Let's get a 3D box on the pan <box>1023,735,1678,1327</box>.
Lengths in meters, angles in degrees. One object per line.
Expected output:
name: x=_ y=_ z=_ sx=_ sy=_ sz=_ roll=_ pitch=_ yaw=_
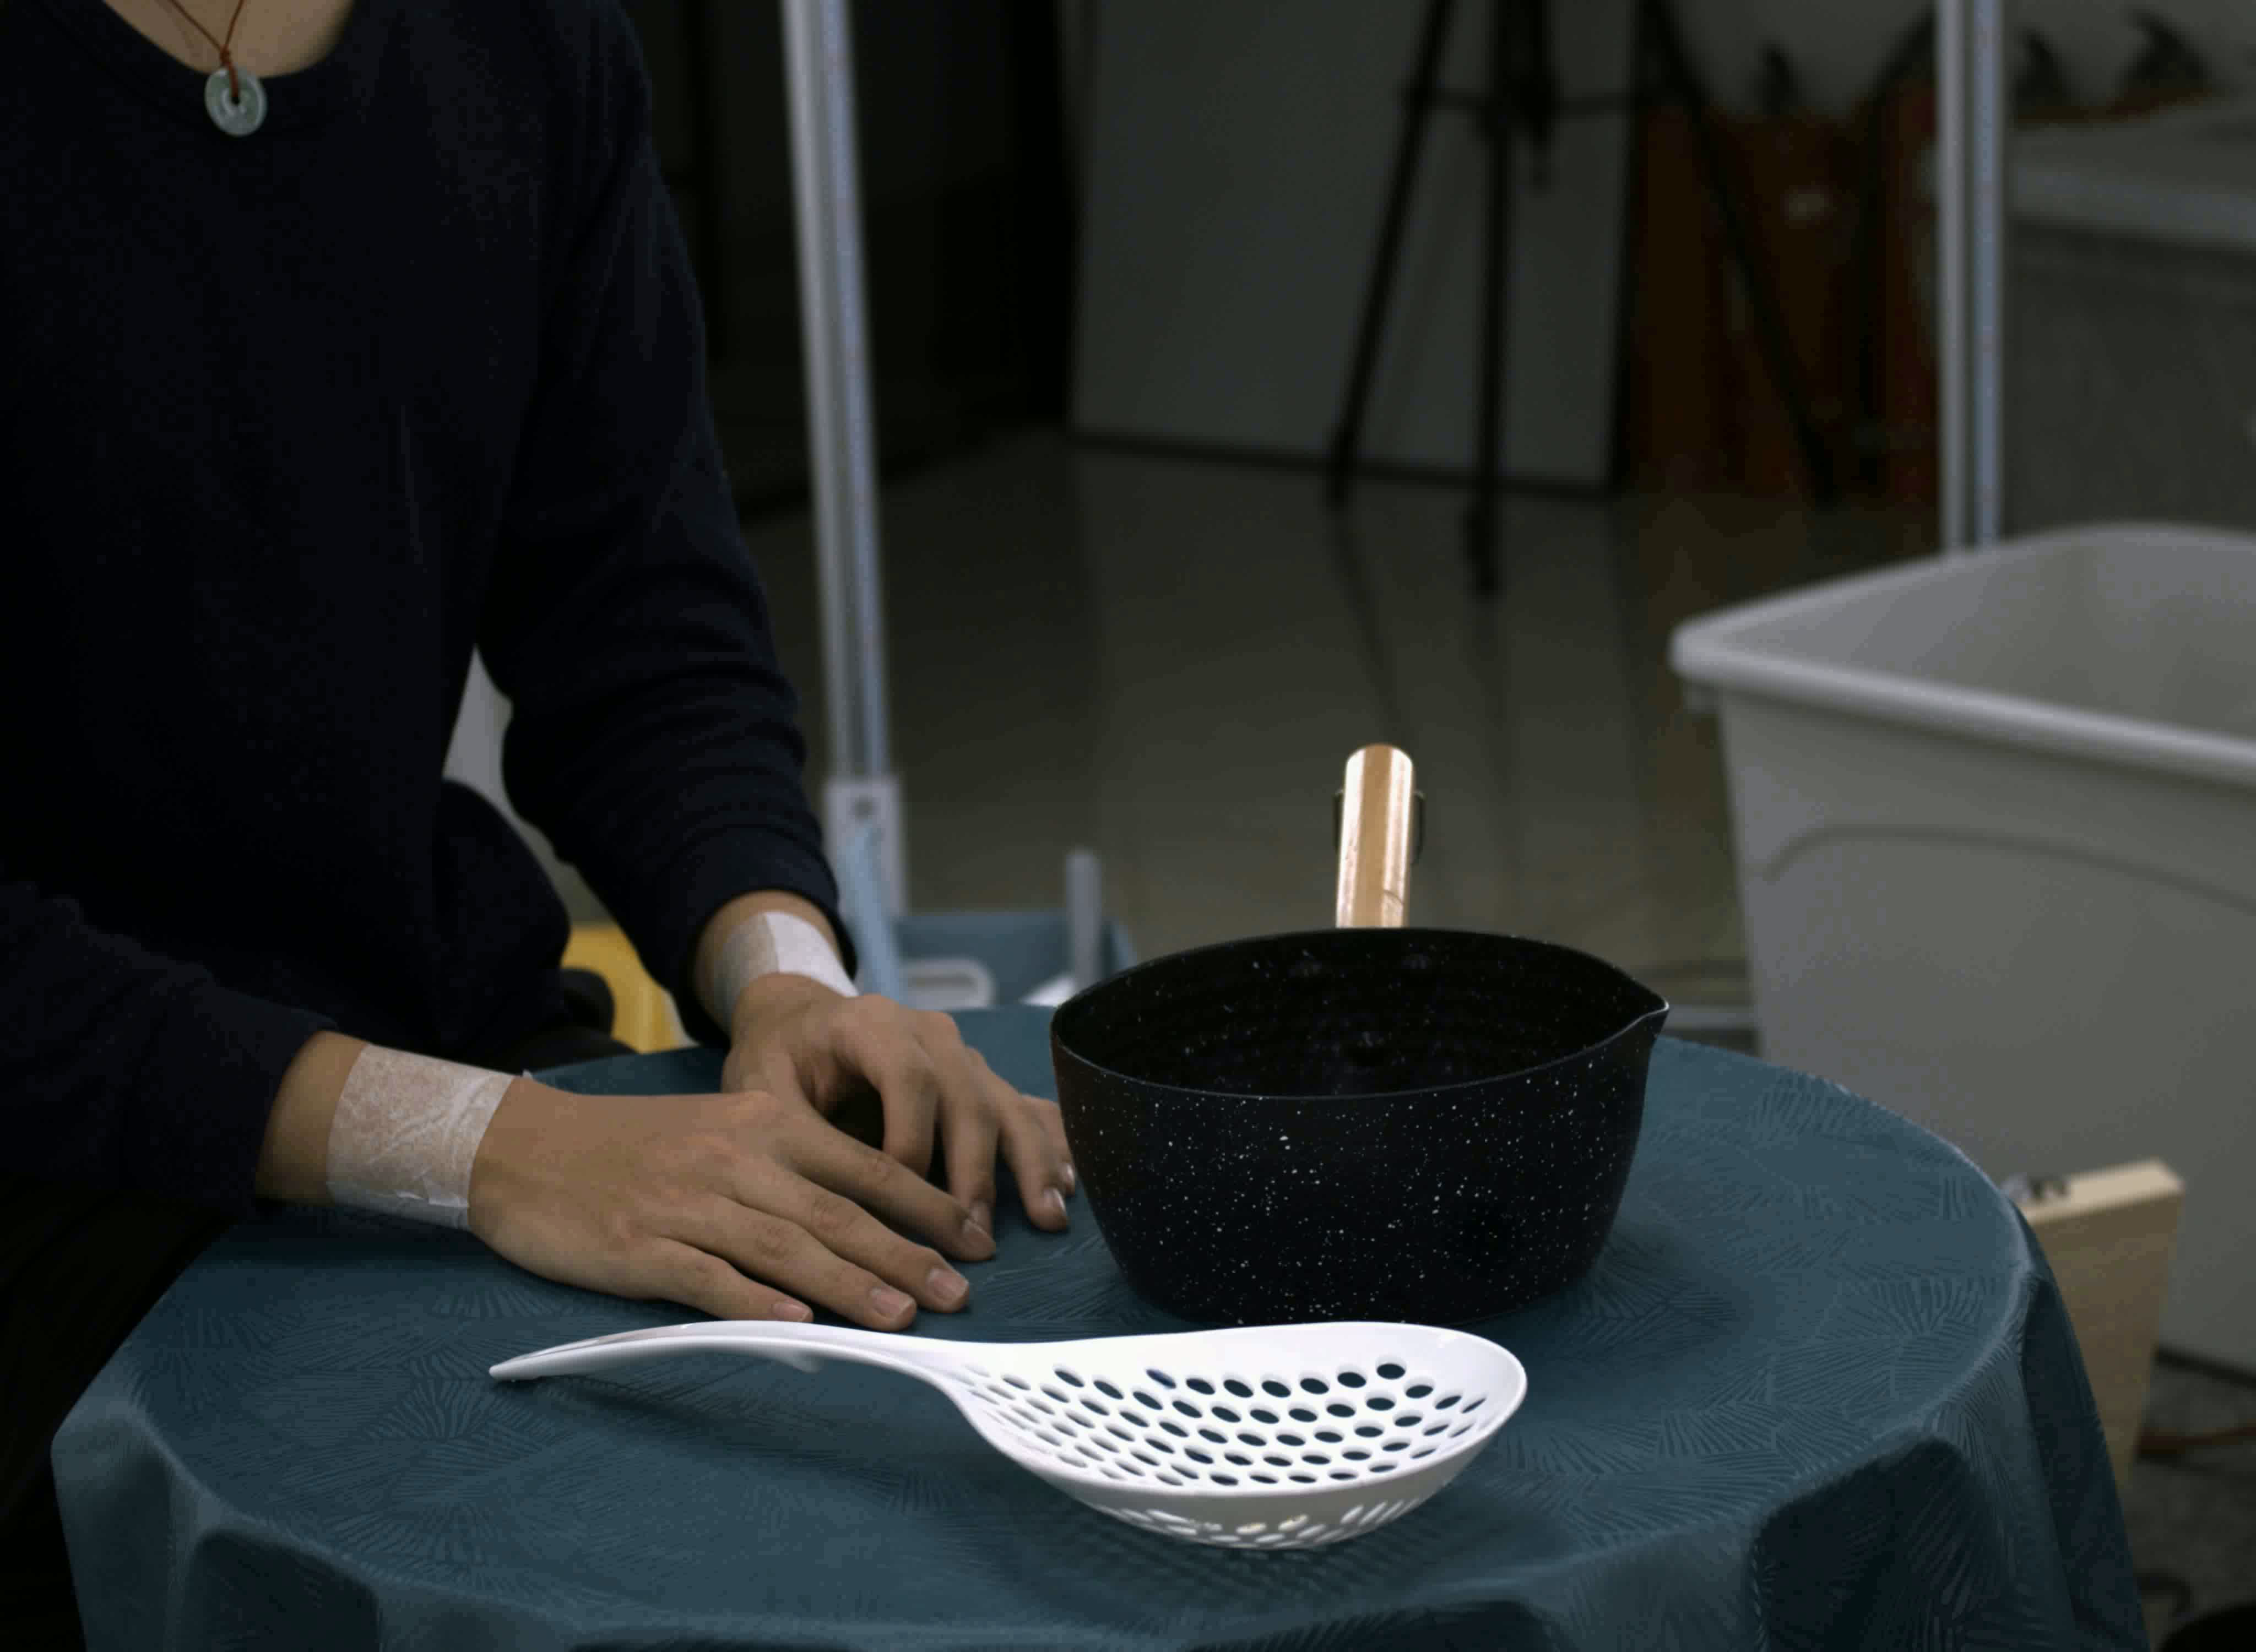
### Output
pan: x=0.075 y=0.065 z=1.750 sx=0.205 sy=0.109 sz=0.342 roll=-4 pitch=15 yaw=6

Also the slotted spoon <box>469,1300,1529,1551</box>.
slotted spoon: x=-0.048 y=0.162 z=1.529 sx=0.350 sy=0.051 sz=0.134 roll=7 pitch=20 yaw=34
